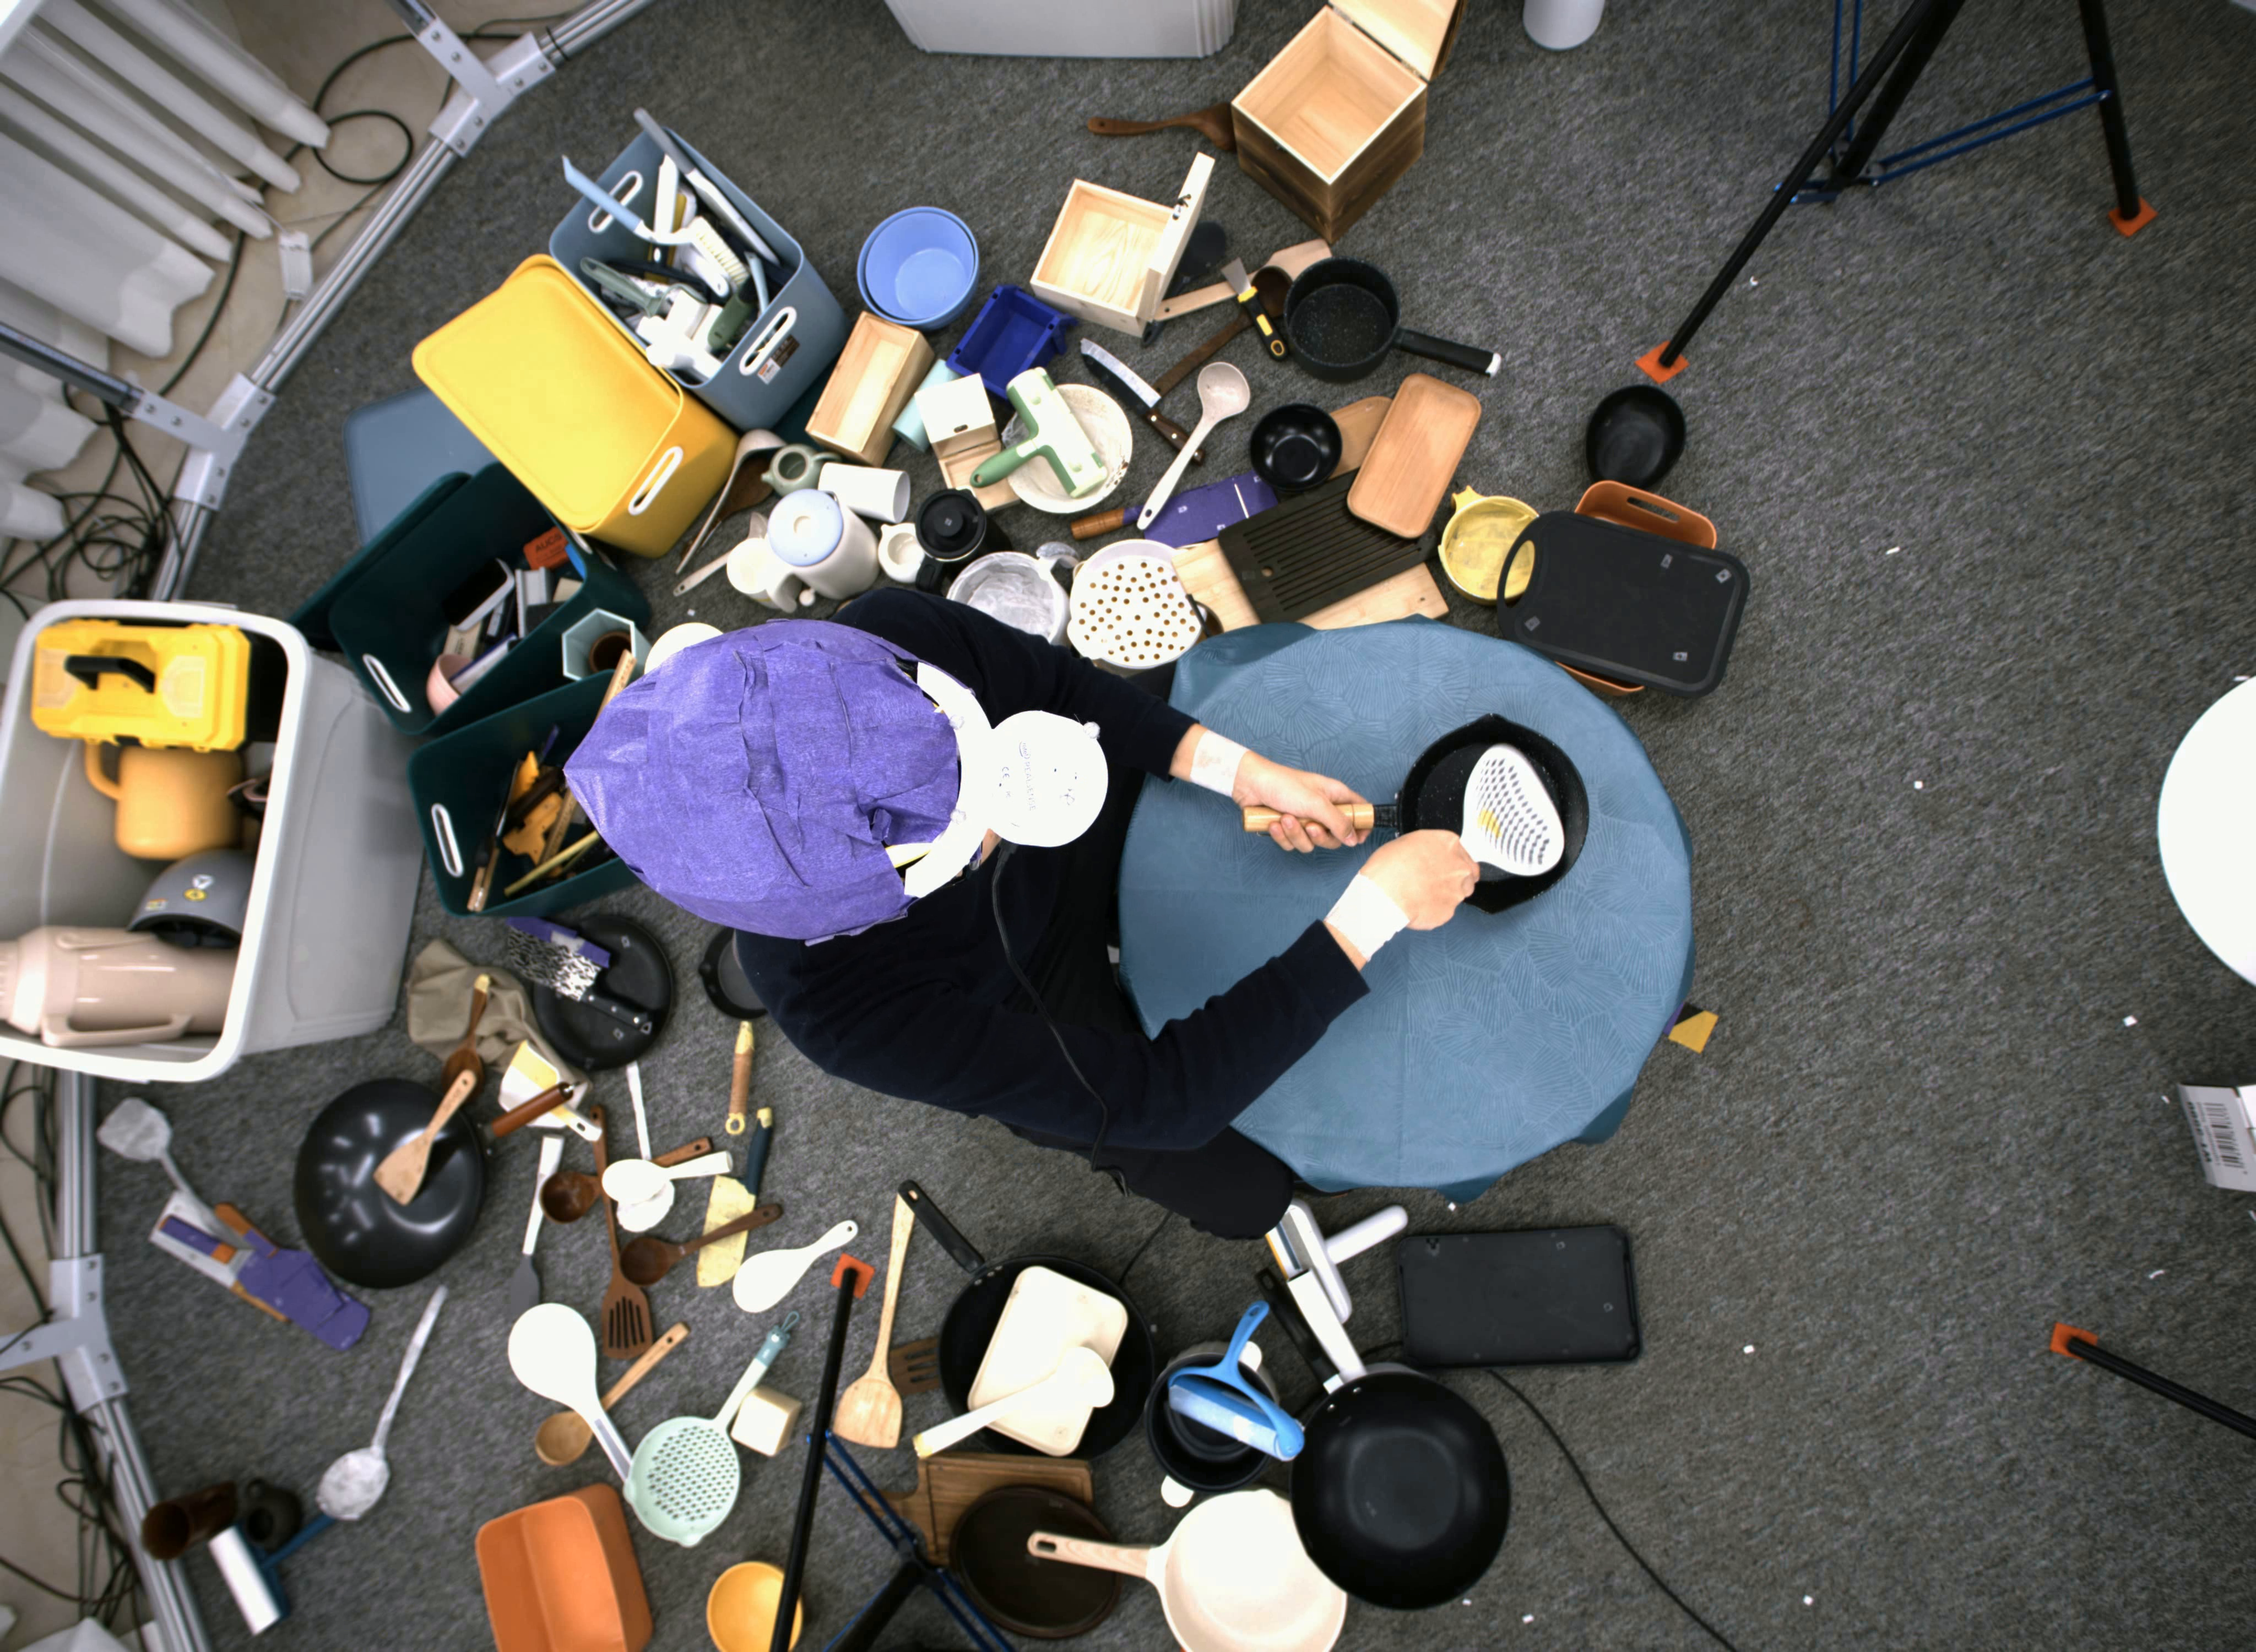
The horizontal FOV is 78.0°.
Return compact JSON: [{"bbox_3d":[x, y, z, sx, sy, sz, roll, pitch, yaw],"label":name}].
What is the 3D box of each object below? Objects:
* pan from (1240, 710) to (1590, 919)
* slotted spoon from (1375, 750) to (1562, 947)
[{"bbox_3d":[0.288,-0.011,1.400,0.344,0.107,0.208,-2,95,11],"label":"pan"},{"bbox_3d":[0.318,0.027,1.303,0.051,0.341,0.137,-31,90,39],"label":"slotted spoon"}]
